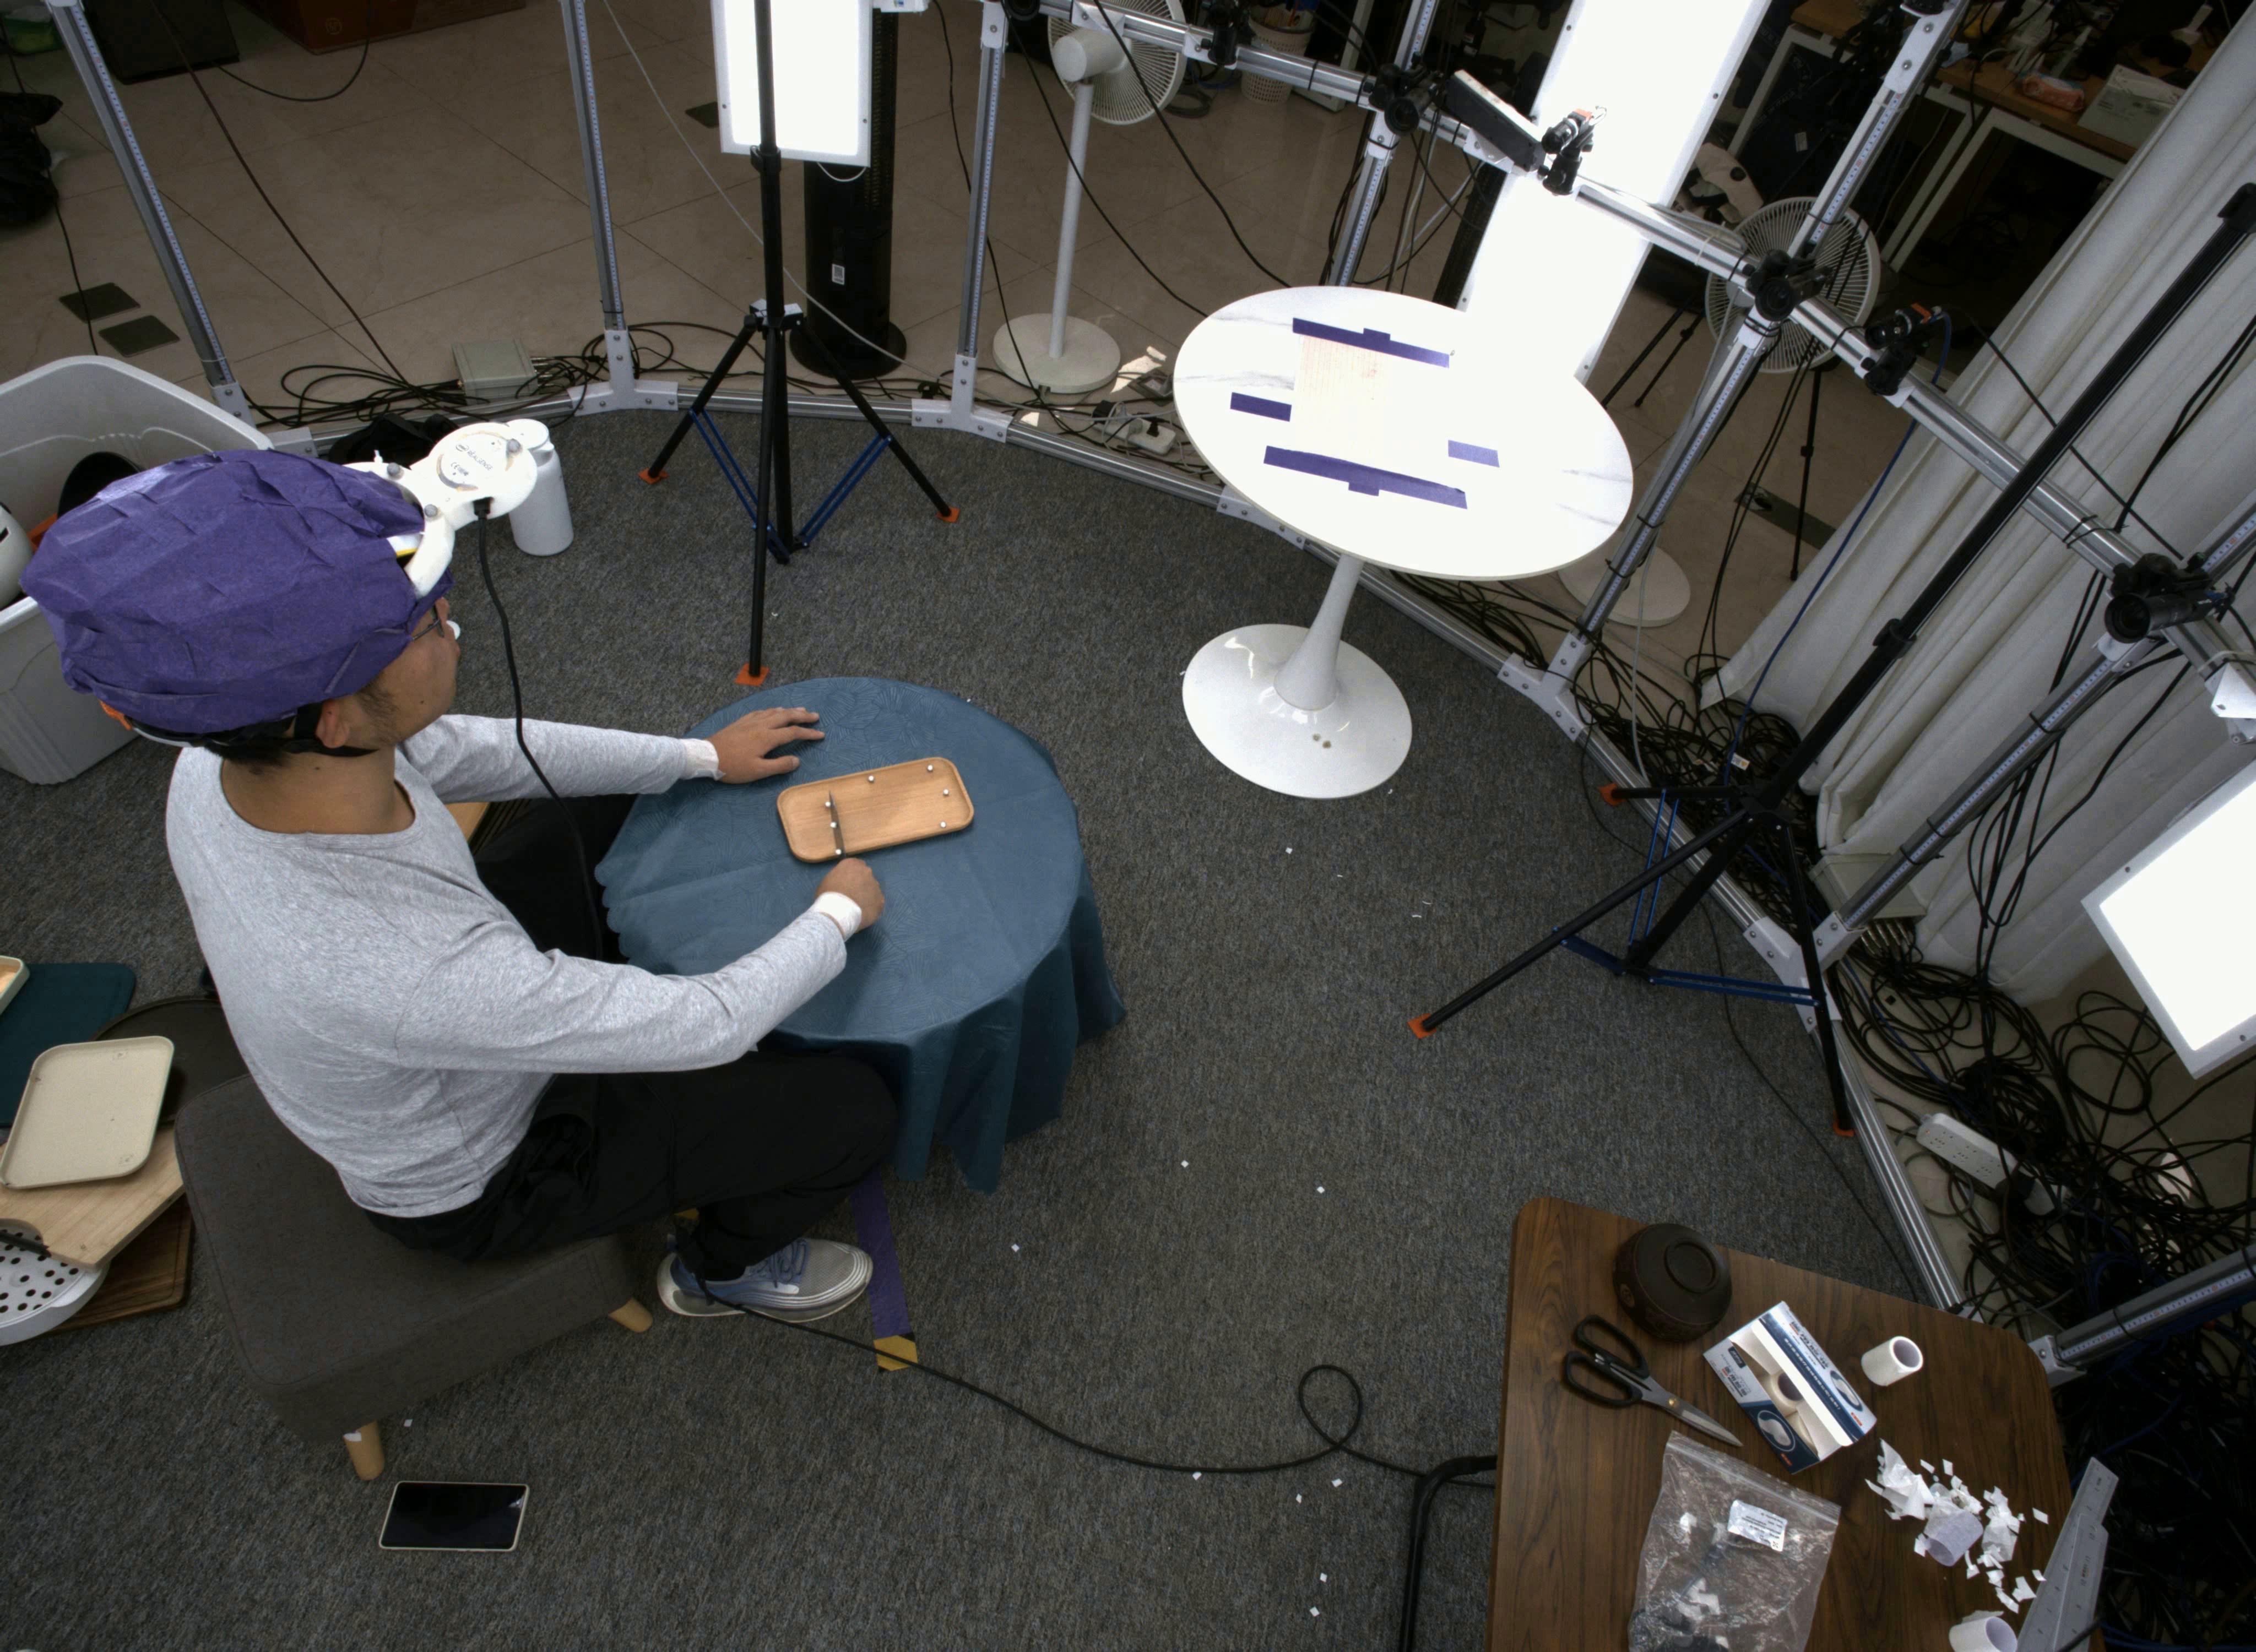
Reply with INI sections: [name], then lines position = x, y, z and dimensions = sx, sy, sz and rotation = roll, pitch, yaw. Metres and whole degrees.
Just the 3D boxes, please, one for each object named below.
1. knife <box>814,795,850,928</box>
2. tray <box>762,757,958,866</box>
[knife]
position = -0.388, 0.037, 1.681
dimensions = 0.016, 0.025, 0.231
rotation = 4, 43, -30
[tray]
position = -0.361, -0.021, 1.757
dimensions = 0.252, 0.023, 0.127
rotation = -14, 56, -22
